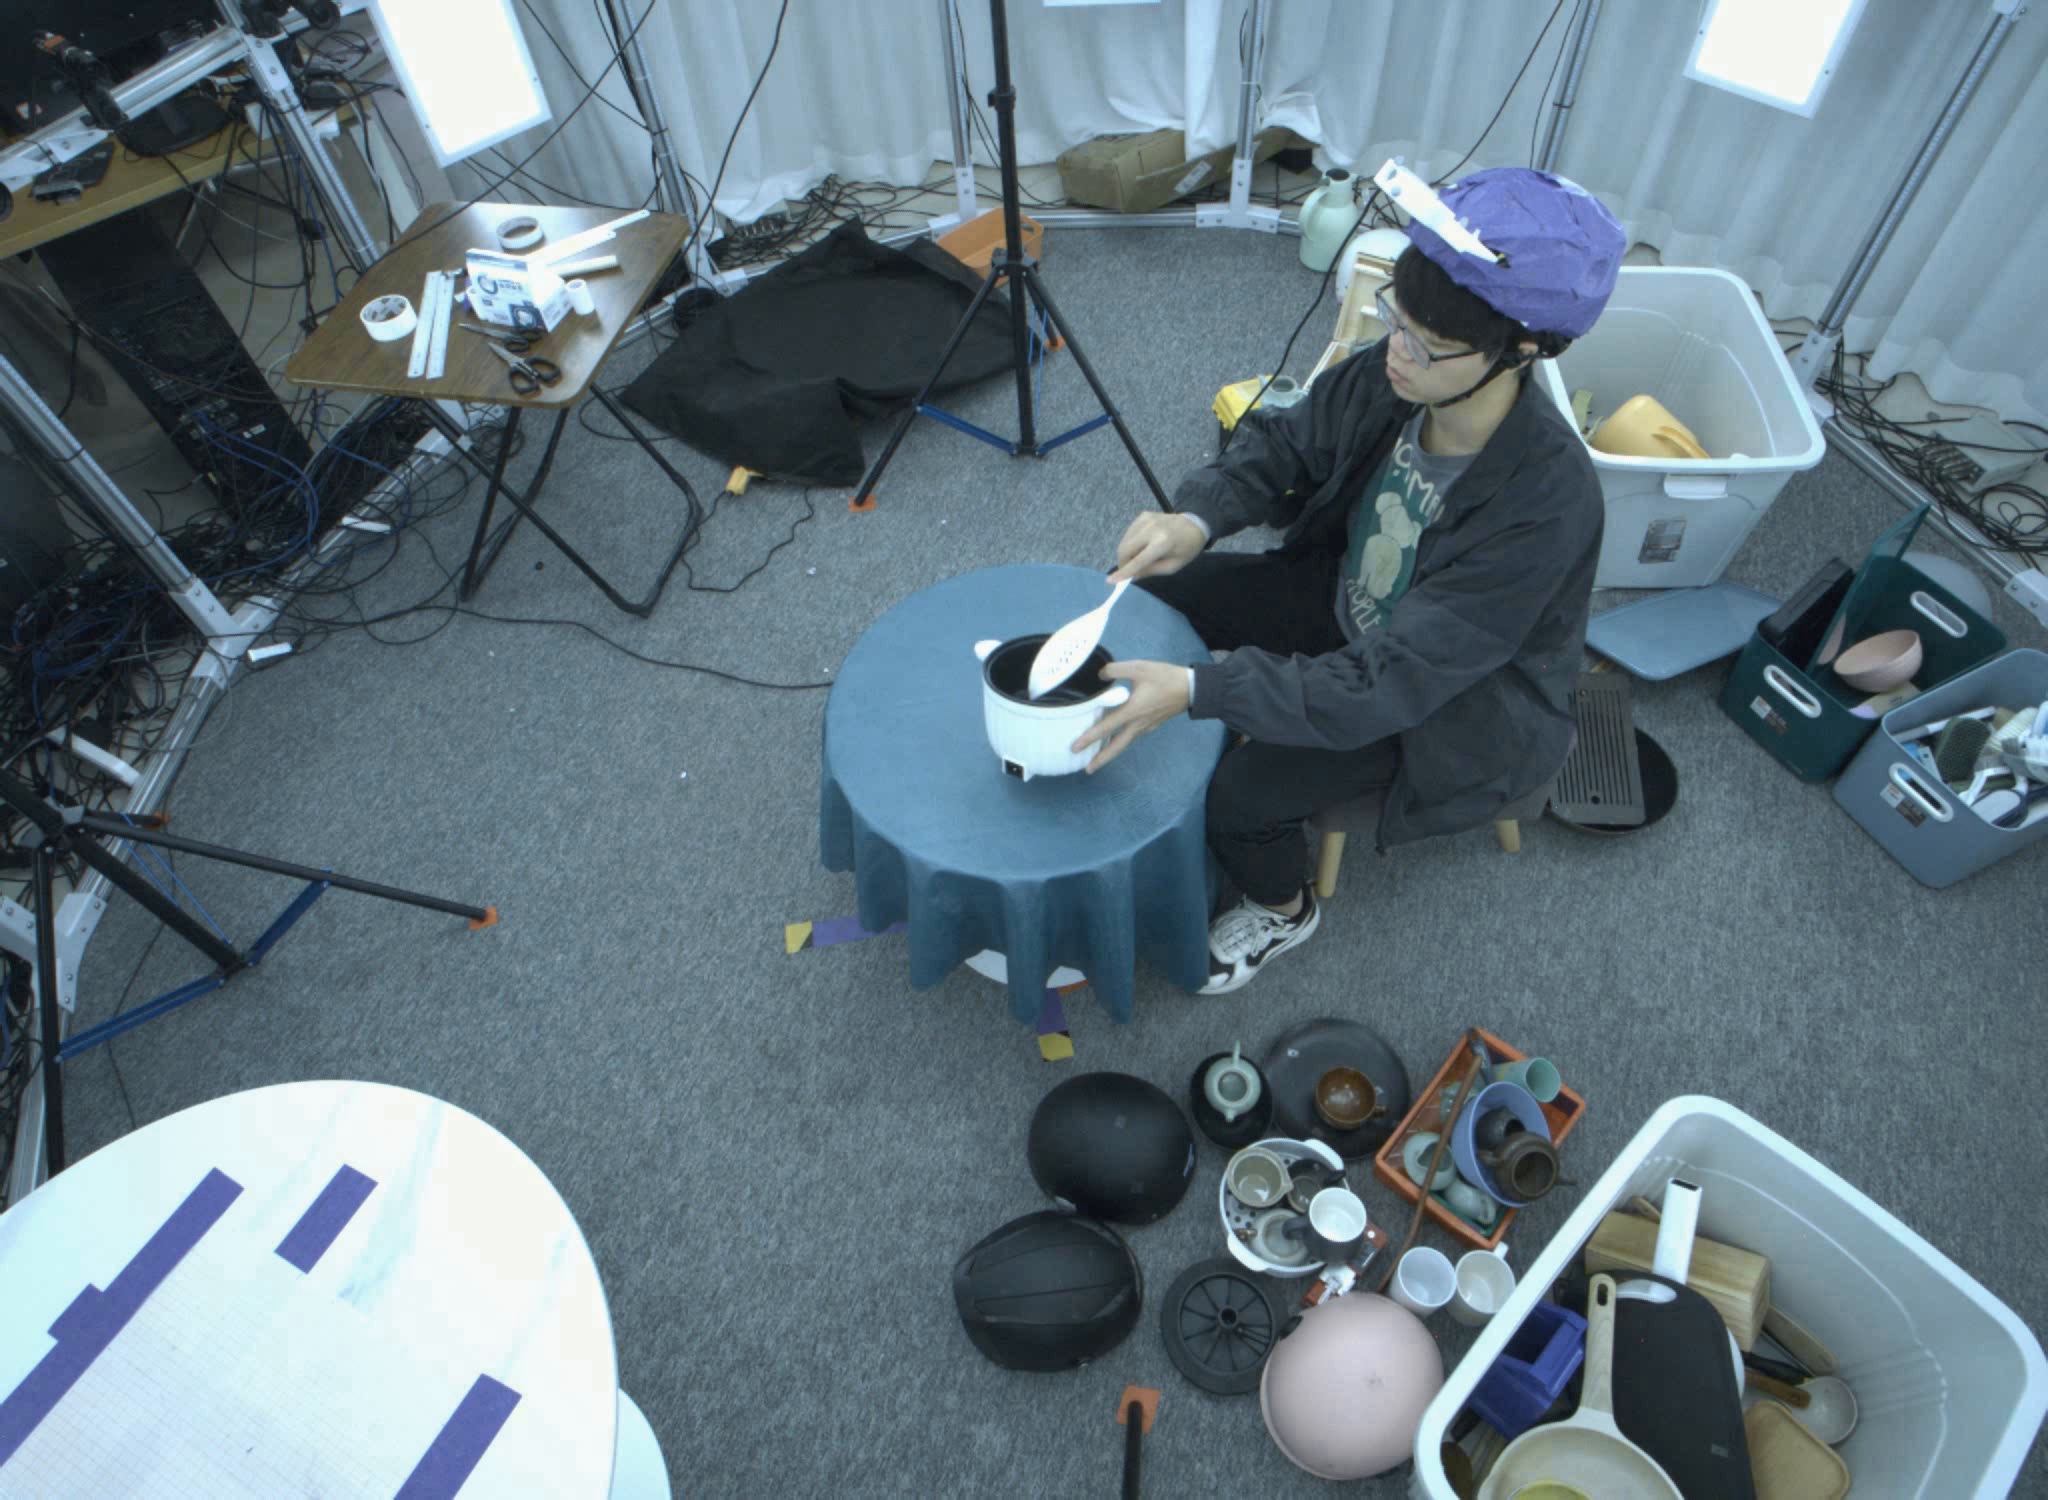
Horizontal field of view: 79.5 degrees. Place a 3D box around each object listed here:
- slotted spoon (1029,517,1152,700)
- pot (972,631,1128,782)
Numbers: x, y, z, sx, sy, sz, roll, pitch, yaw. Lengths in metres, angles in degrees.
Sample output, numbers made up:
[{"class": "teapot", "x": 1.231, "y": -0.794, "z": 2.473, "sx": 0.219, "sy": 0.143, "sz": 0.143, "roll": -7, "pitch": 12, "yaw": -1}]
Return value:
[{"class": "slotted spoon", "x": 0.101, "y": -0.202, "z": 1.682, "sx": 0.050, "sy": 0.135, "sz": 0.349, "roll": 44, "pitch": 57, "yaw": -8}, {"class": "pot", "x": 0.035, "y": -0.061, "z": 1.681, "sx": 0.236, "sy": 0.144, "sz": 0.192, "roll": 23, "pitch": 46, "yaw": 25}]
